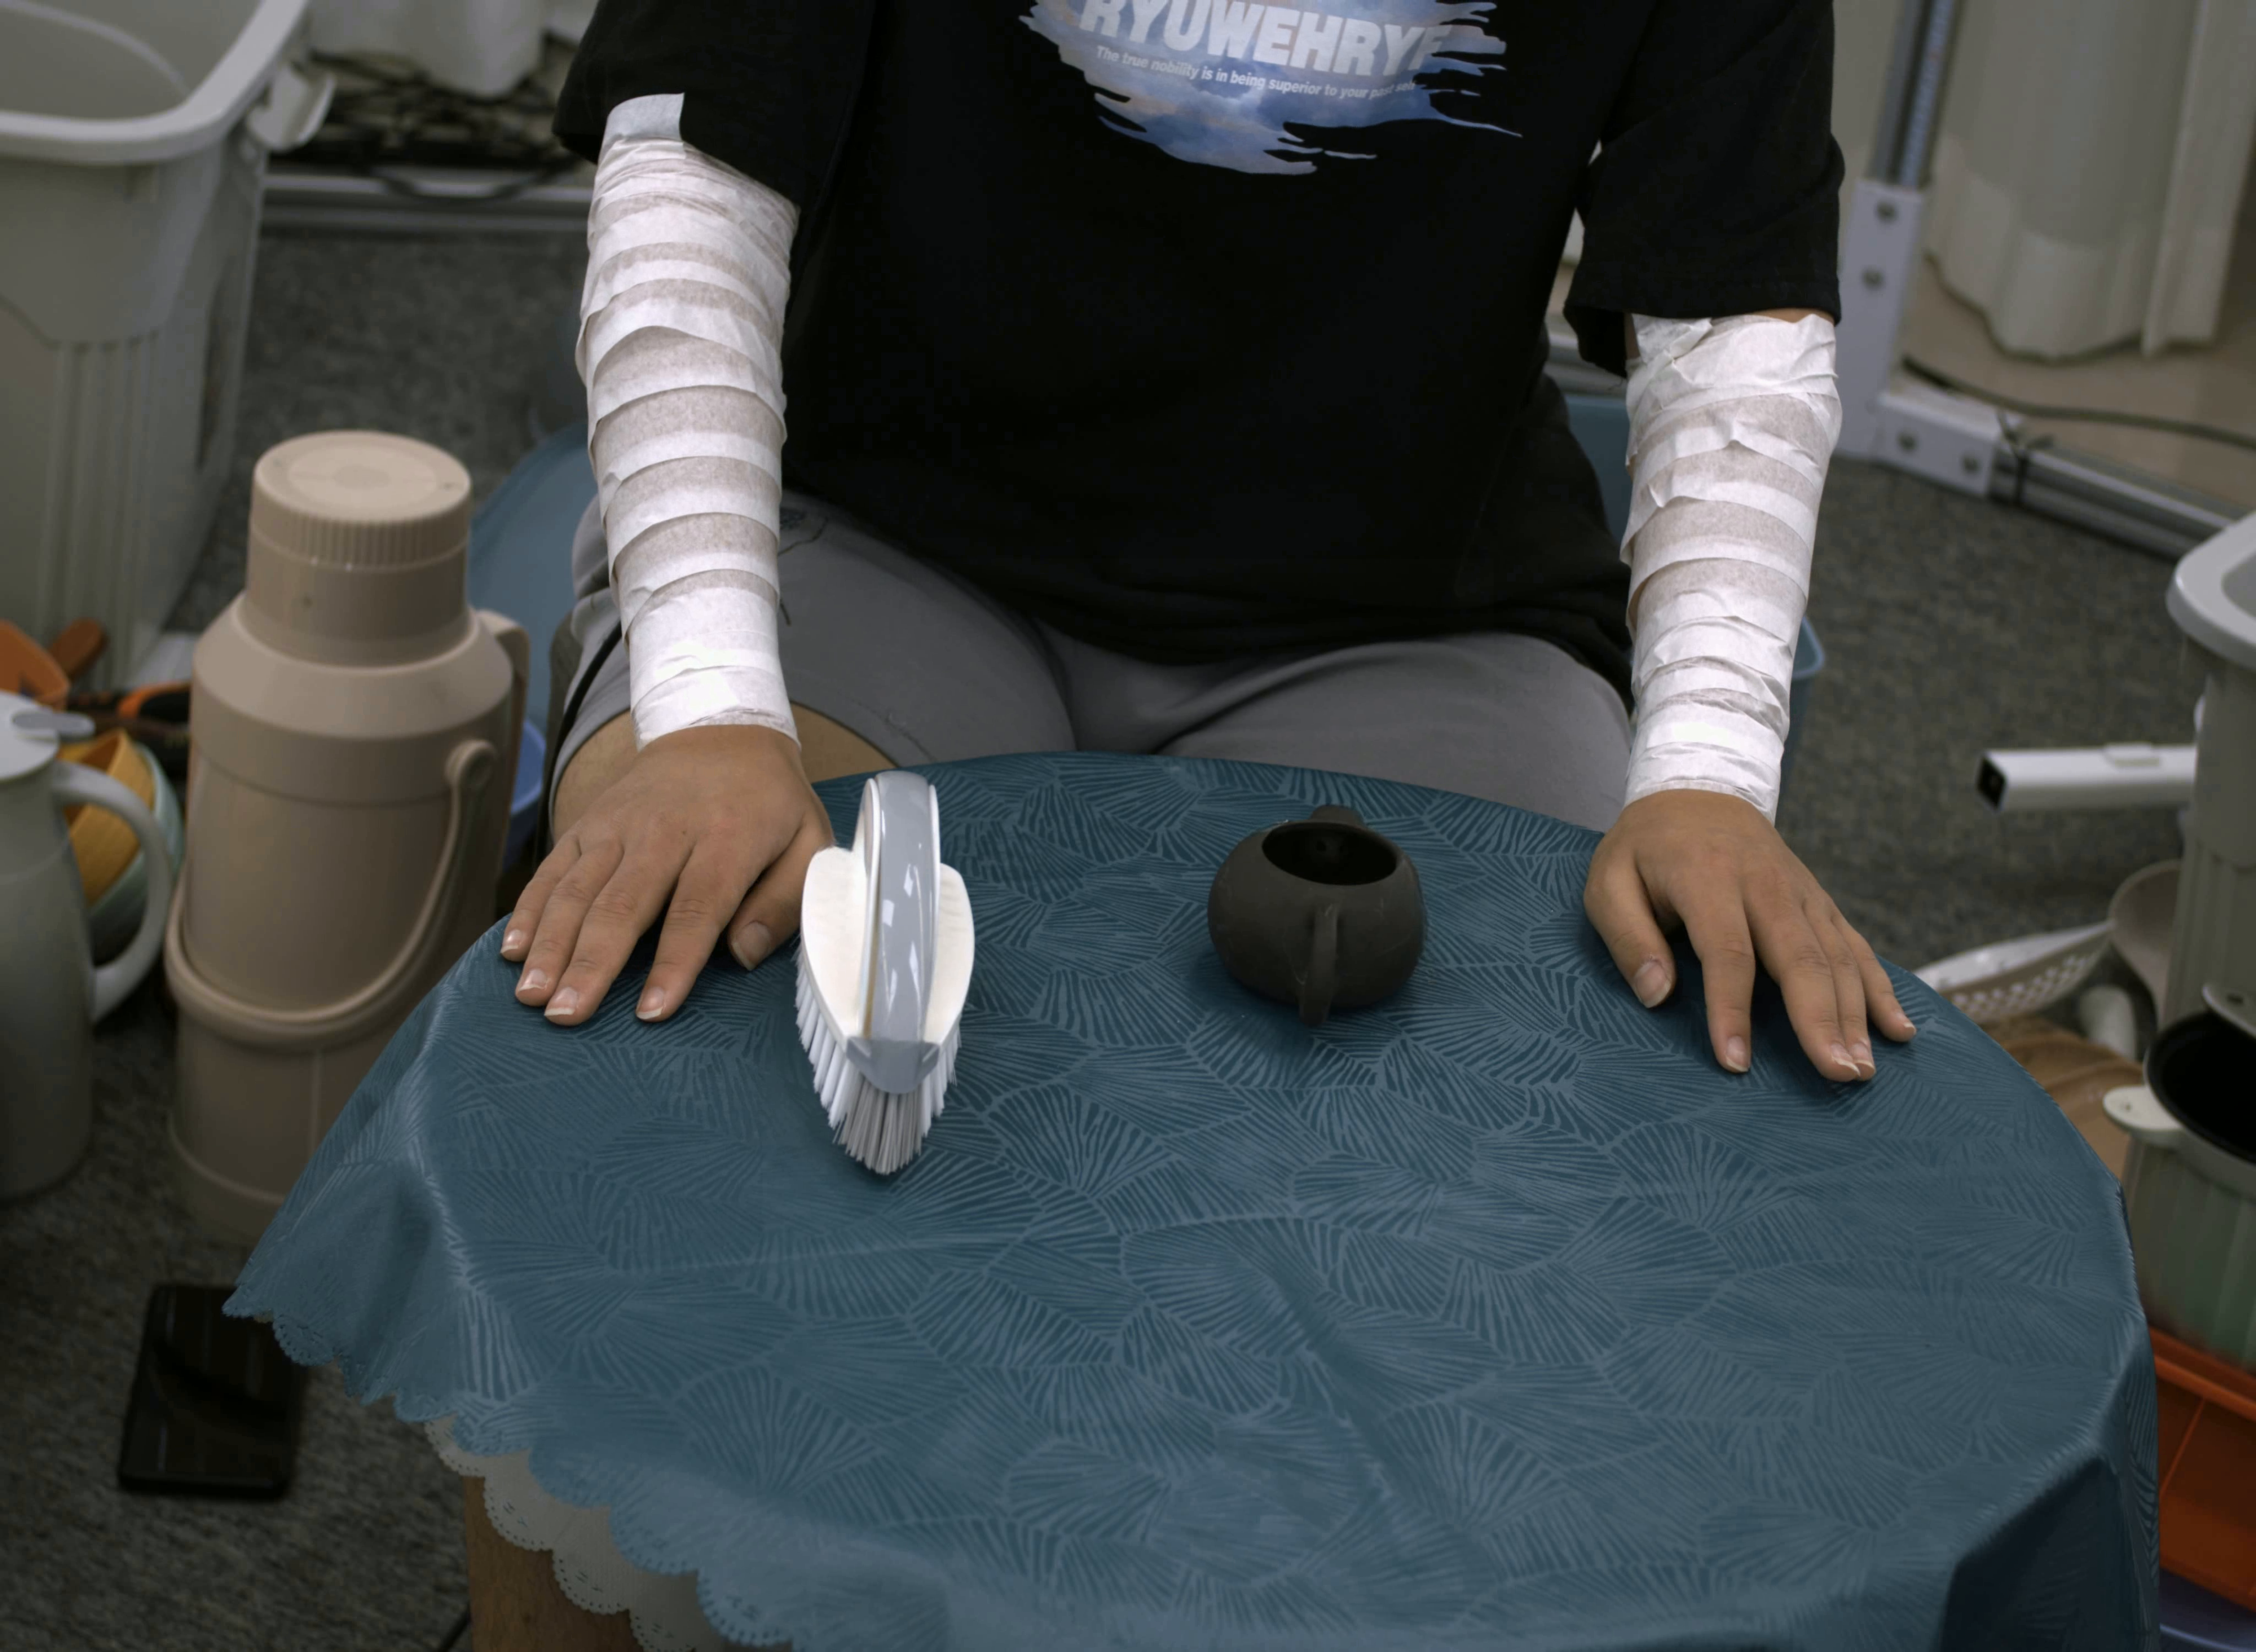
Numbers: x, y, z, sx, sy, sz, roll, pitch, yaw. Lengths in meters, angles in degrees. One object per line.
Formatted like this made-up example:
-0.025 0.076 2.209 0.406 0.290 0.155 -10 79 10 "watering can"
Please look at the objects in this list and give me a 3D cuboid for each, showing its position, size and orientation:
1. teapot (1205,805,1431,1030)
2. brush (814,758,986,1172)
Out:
0.069 0.036 1.936 0.083 0.053 0.114 7 24 0 "teapot"
-0.079 0.040 1.850 0.061 0.094 0.176 2 28 -3 "brush"
